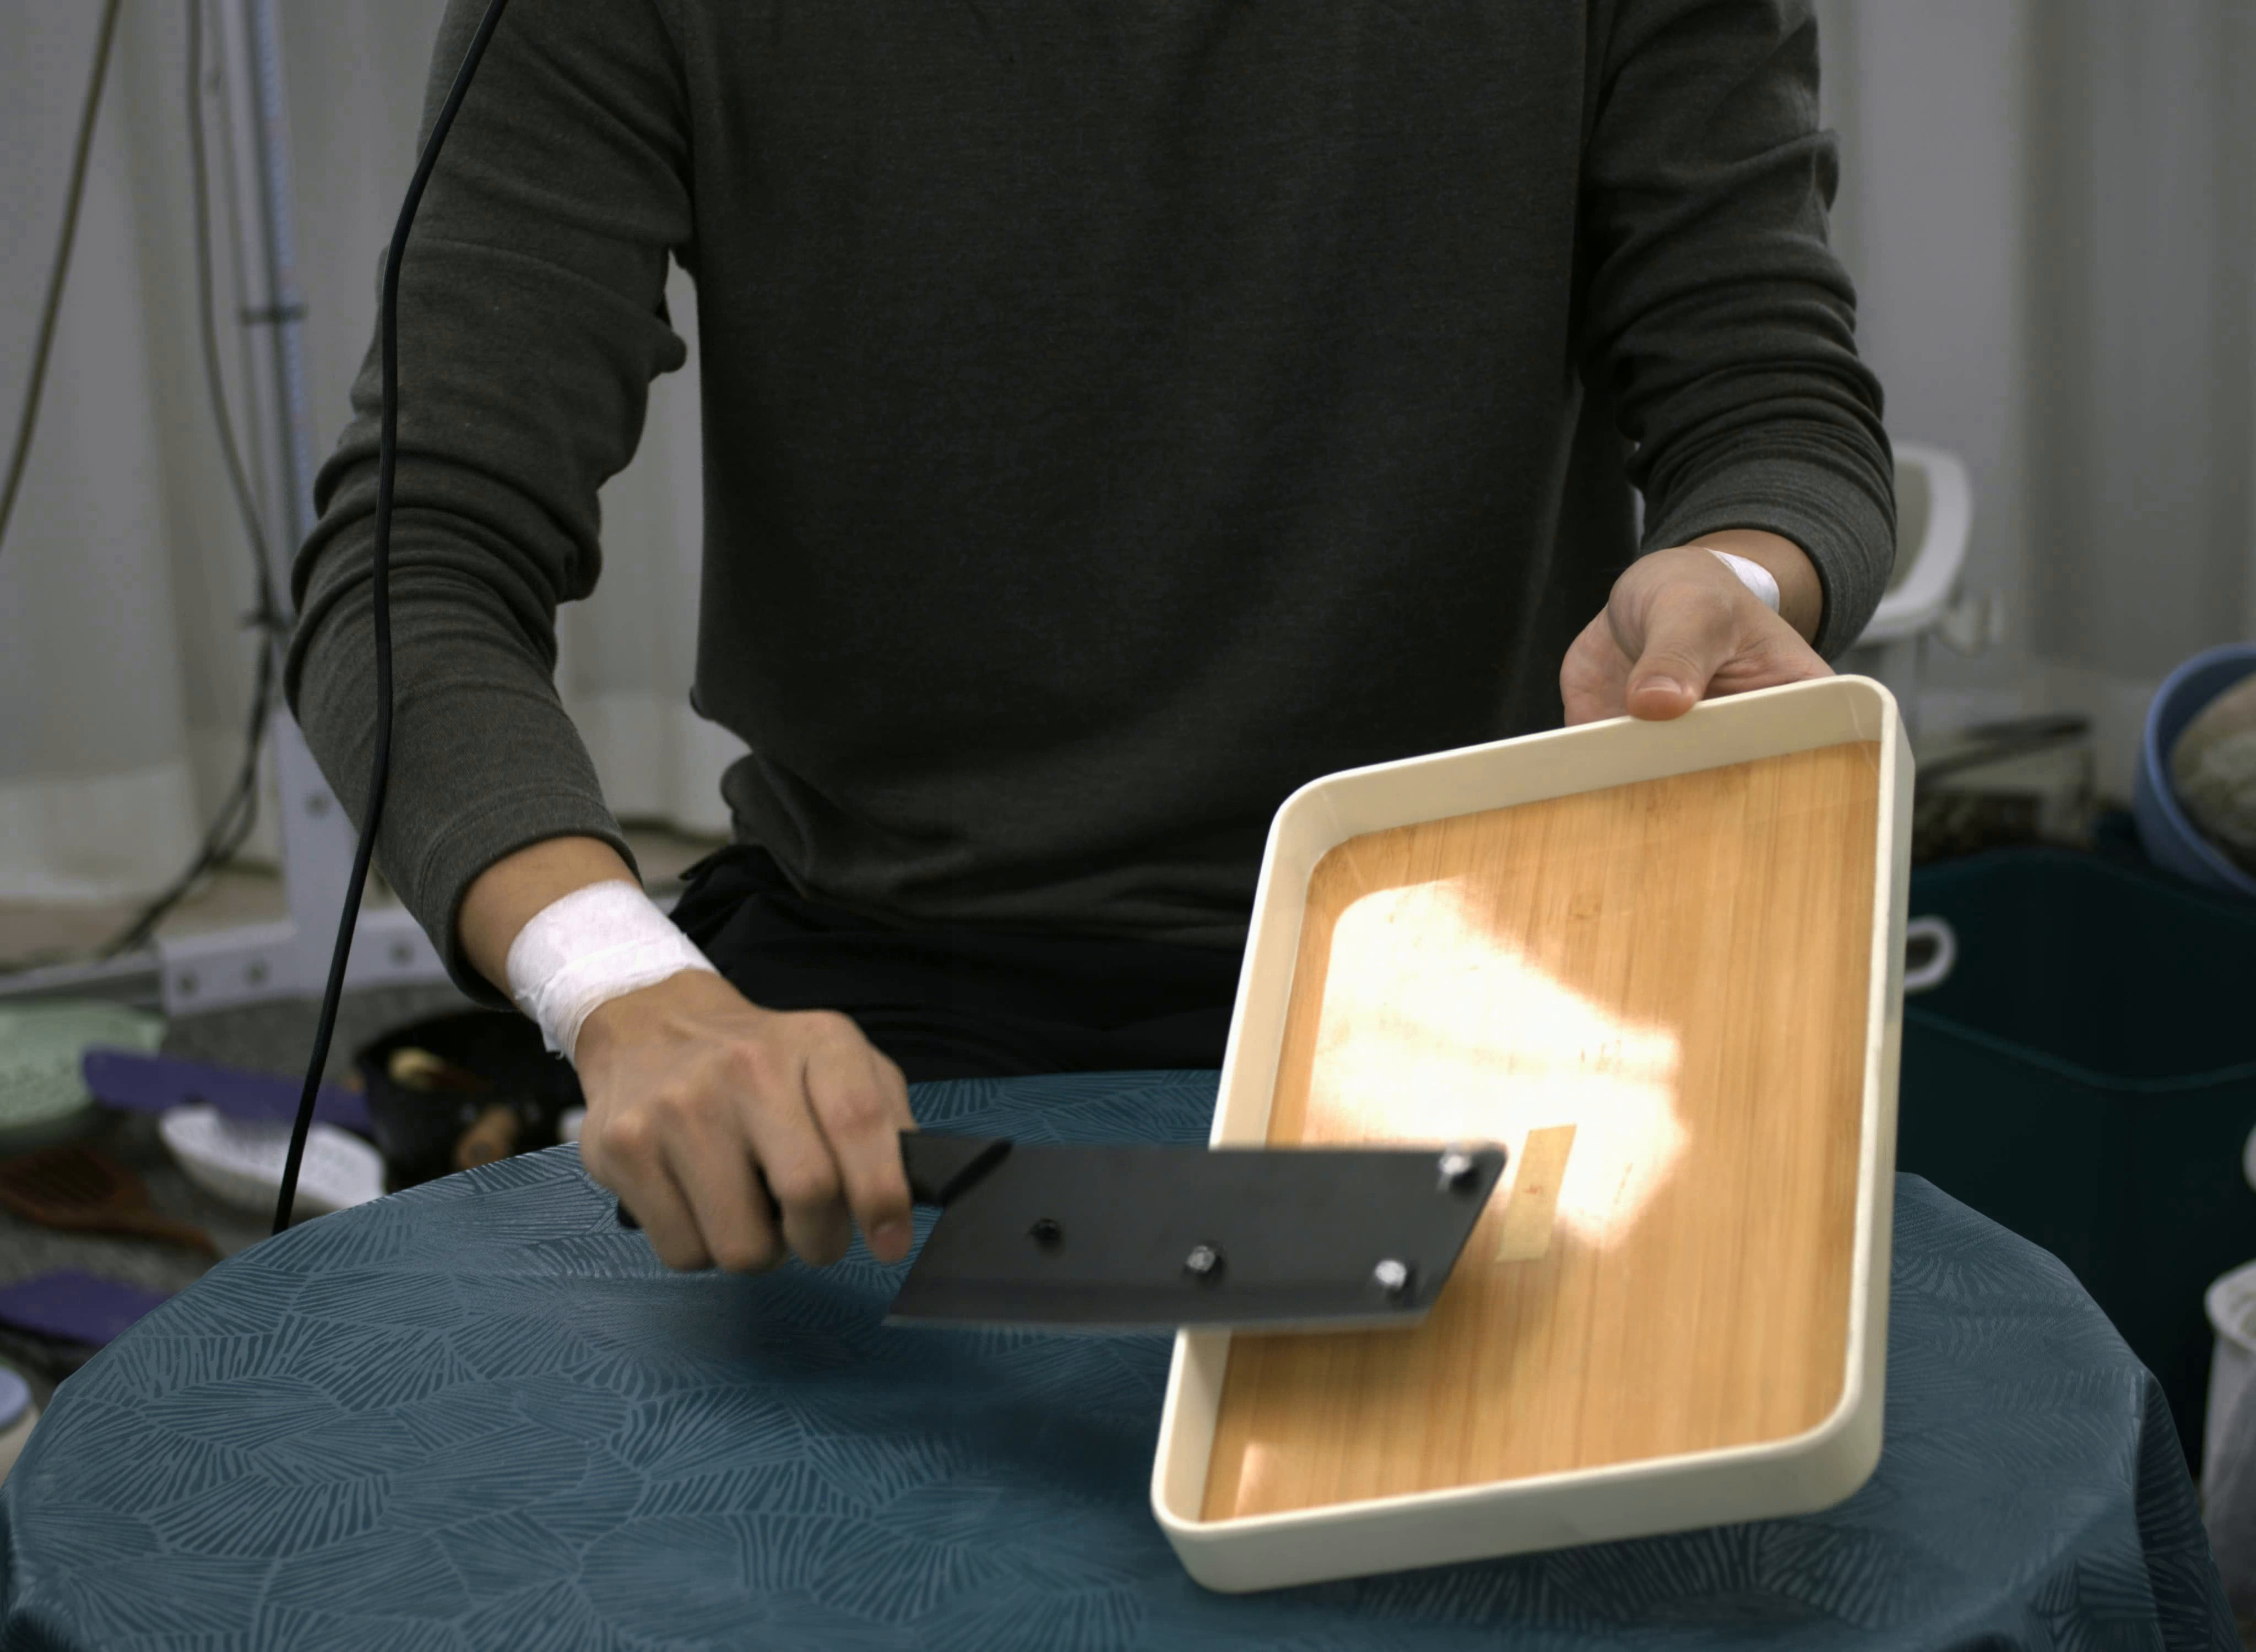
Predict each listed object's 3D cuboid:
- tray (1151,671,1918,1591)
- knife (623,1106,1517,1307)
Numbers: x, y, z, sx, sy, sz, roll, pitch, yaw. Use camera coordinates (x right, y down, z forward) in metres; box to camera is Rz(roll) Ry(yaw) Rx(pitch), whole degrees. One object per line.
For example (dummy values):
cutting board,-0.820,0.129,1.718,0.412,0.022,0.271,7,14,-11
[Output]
tray,0.115,0.077,1.479,0.191,0.027,0.304,-11,37,19
knife,-0.026,0.105,1.517,0.303,0.020,0.081,0,43,40
